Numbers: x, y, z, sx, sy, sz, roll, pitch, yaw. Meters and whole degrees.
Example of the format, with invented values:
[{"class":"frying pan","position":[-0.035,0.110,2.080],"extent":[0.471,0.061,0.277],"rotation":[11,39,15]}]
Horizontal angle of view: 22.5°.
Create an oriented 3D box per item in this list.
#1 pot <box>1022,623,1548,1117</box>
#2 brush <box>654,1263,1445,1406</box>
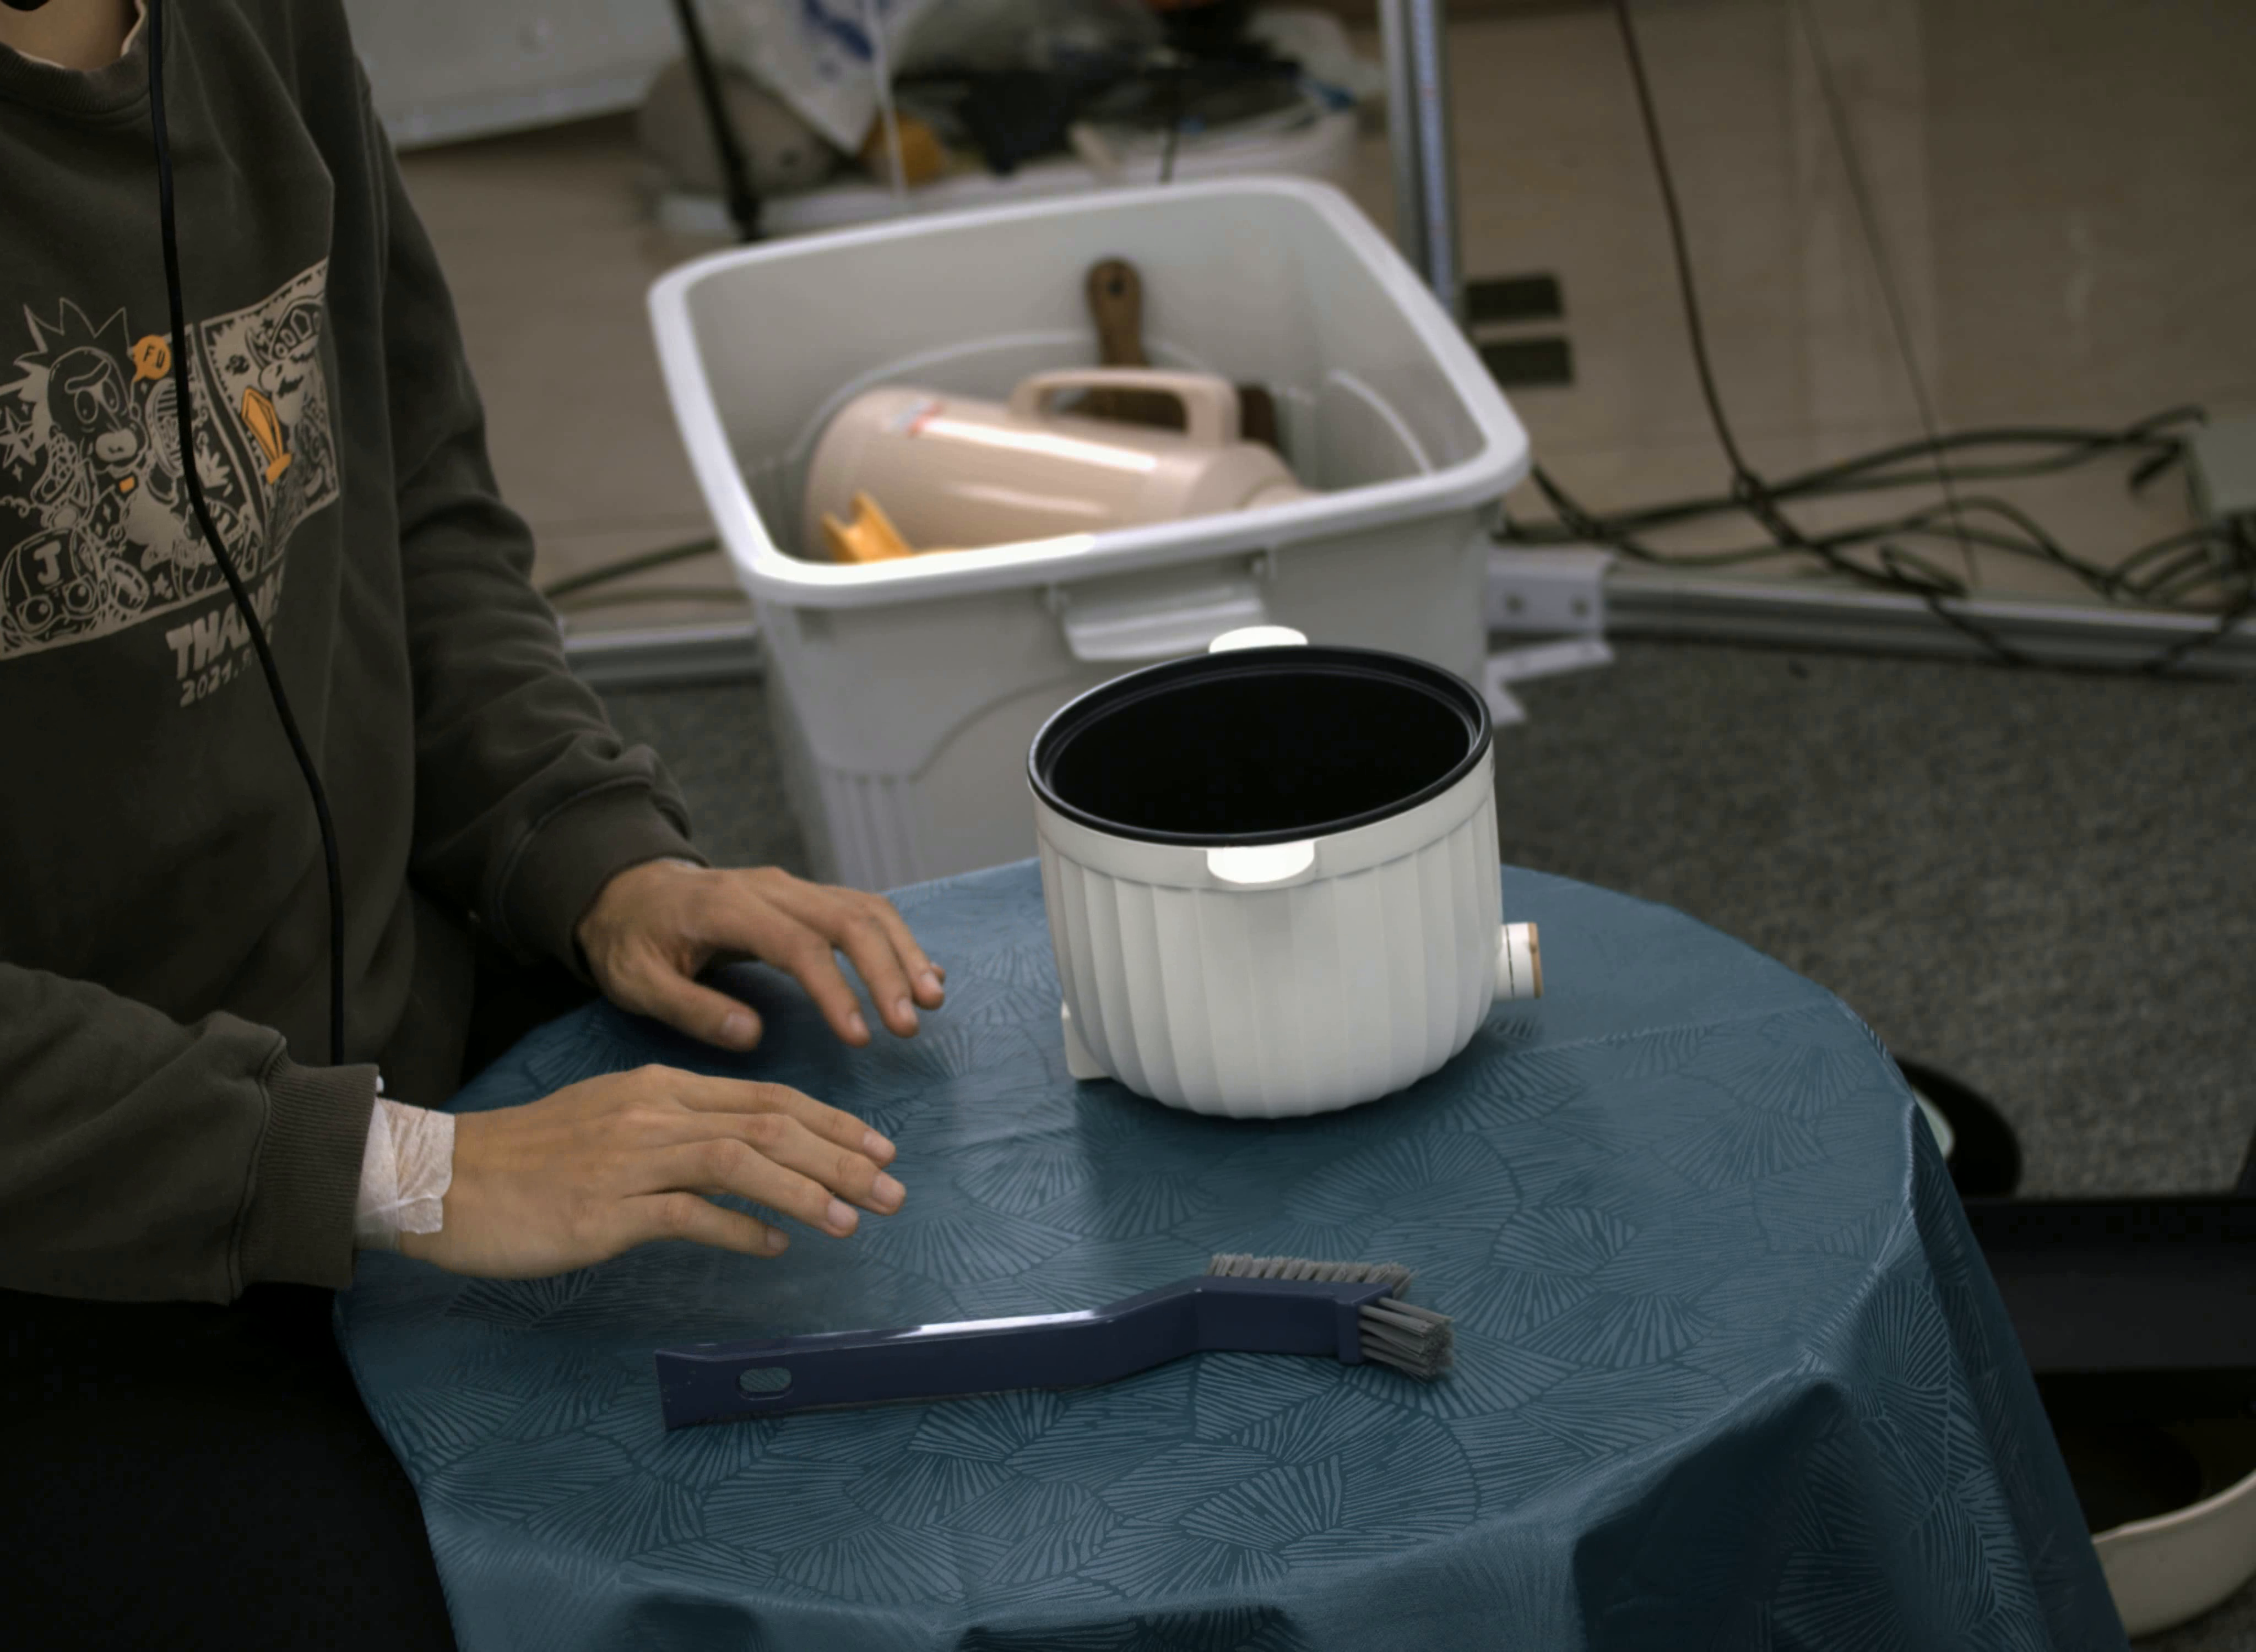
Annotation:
[{"class":"pot","position":[0.063,0.023,2.210],"extent":[0.190,0.145,0.237],"rotation":[-9,27,5]},{"class":"brush","position":[-0.030,0.188,2.013],"extent":[0.272,0.034,0.094],"rotation":[-8,26,-5]}]
